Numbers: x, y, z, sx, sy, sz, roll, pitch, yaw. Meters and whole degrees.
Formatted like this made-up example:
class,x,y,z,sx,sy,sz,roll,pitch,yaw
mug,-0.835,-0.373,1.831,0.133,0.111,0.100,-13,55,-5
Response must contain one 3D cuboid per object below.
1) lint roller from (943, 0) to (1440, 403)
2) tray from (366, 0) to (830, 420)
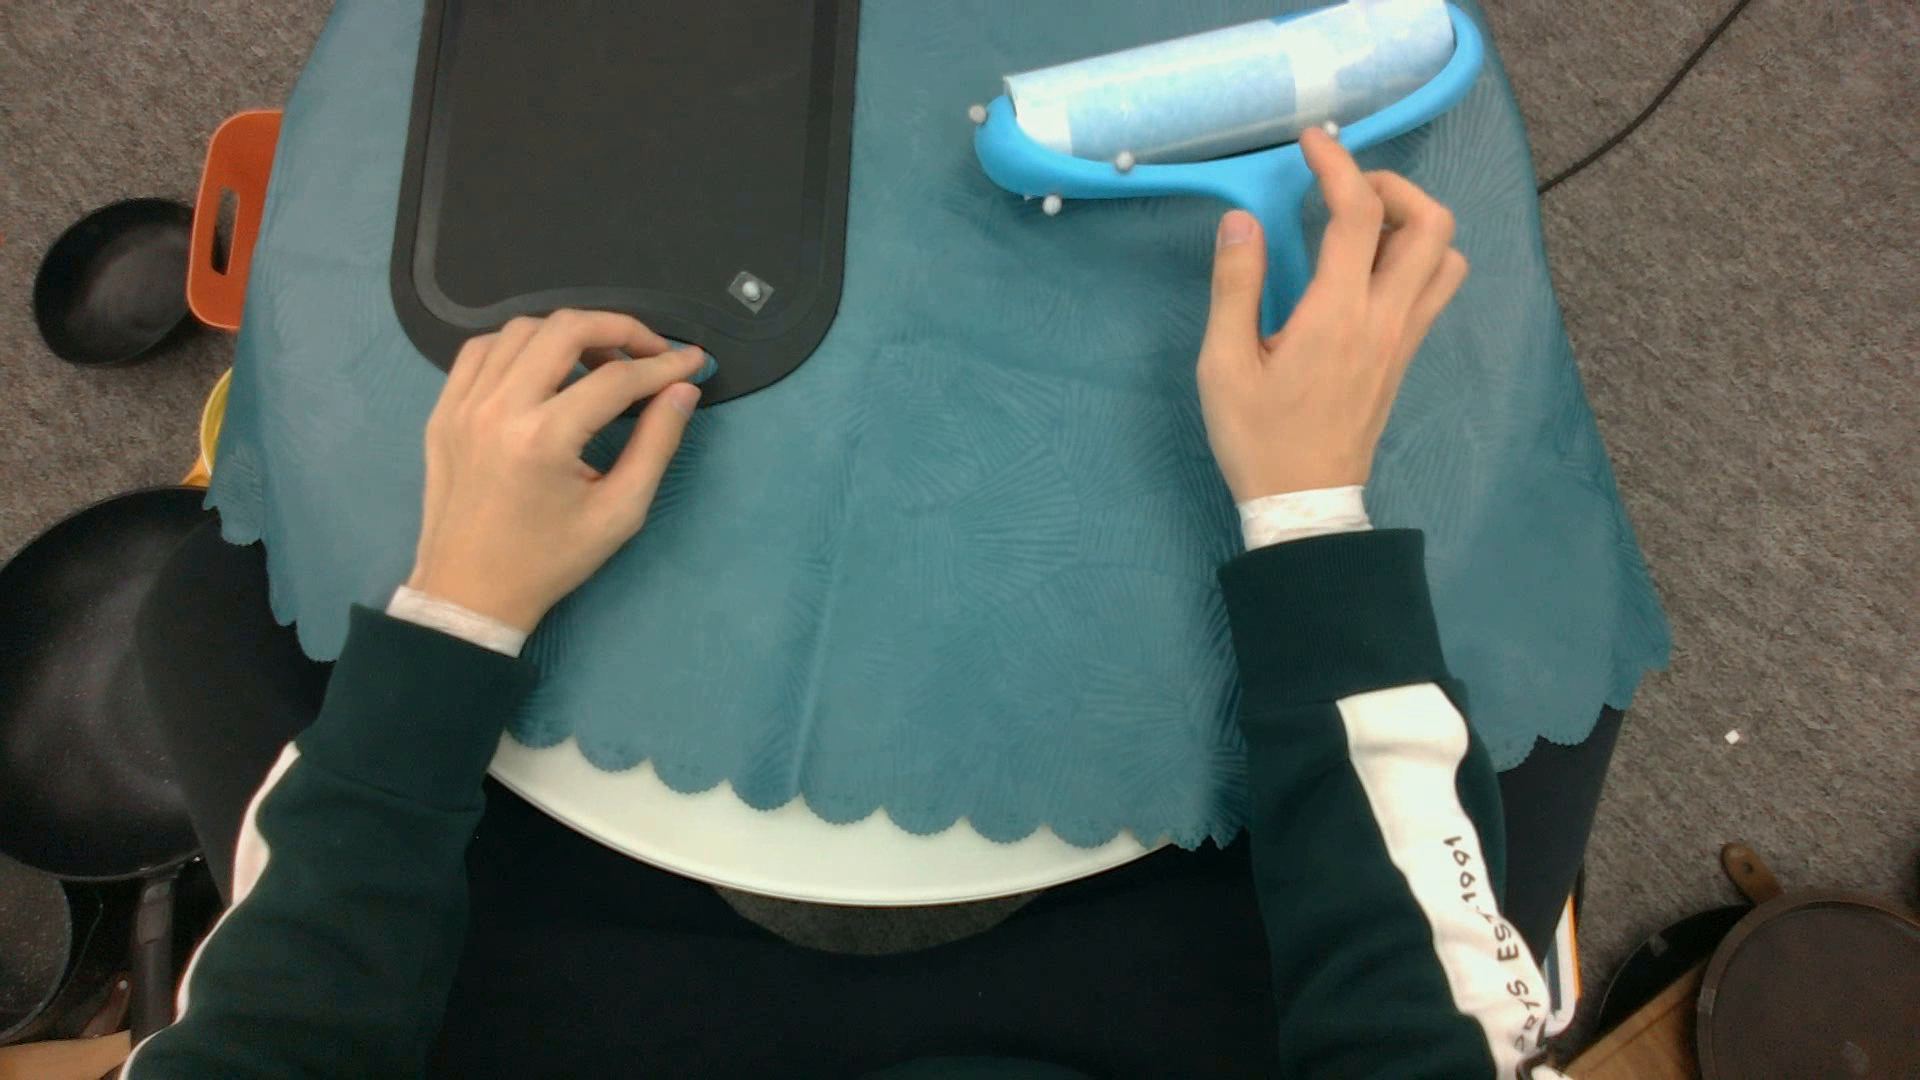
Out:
class,x,y,z,sx,sy,sz,roll,pitch,yaw
lint roller,0.122,-0.154,0.615,0.229,0.068,0.180,-17,79,-4
tray,-0.168,-0.215,0.655,0.211,0.010,0.326,1,79,1
